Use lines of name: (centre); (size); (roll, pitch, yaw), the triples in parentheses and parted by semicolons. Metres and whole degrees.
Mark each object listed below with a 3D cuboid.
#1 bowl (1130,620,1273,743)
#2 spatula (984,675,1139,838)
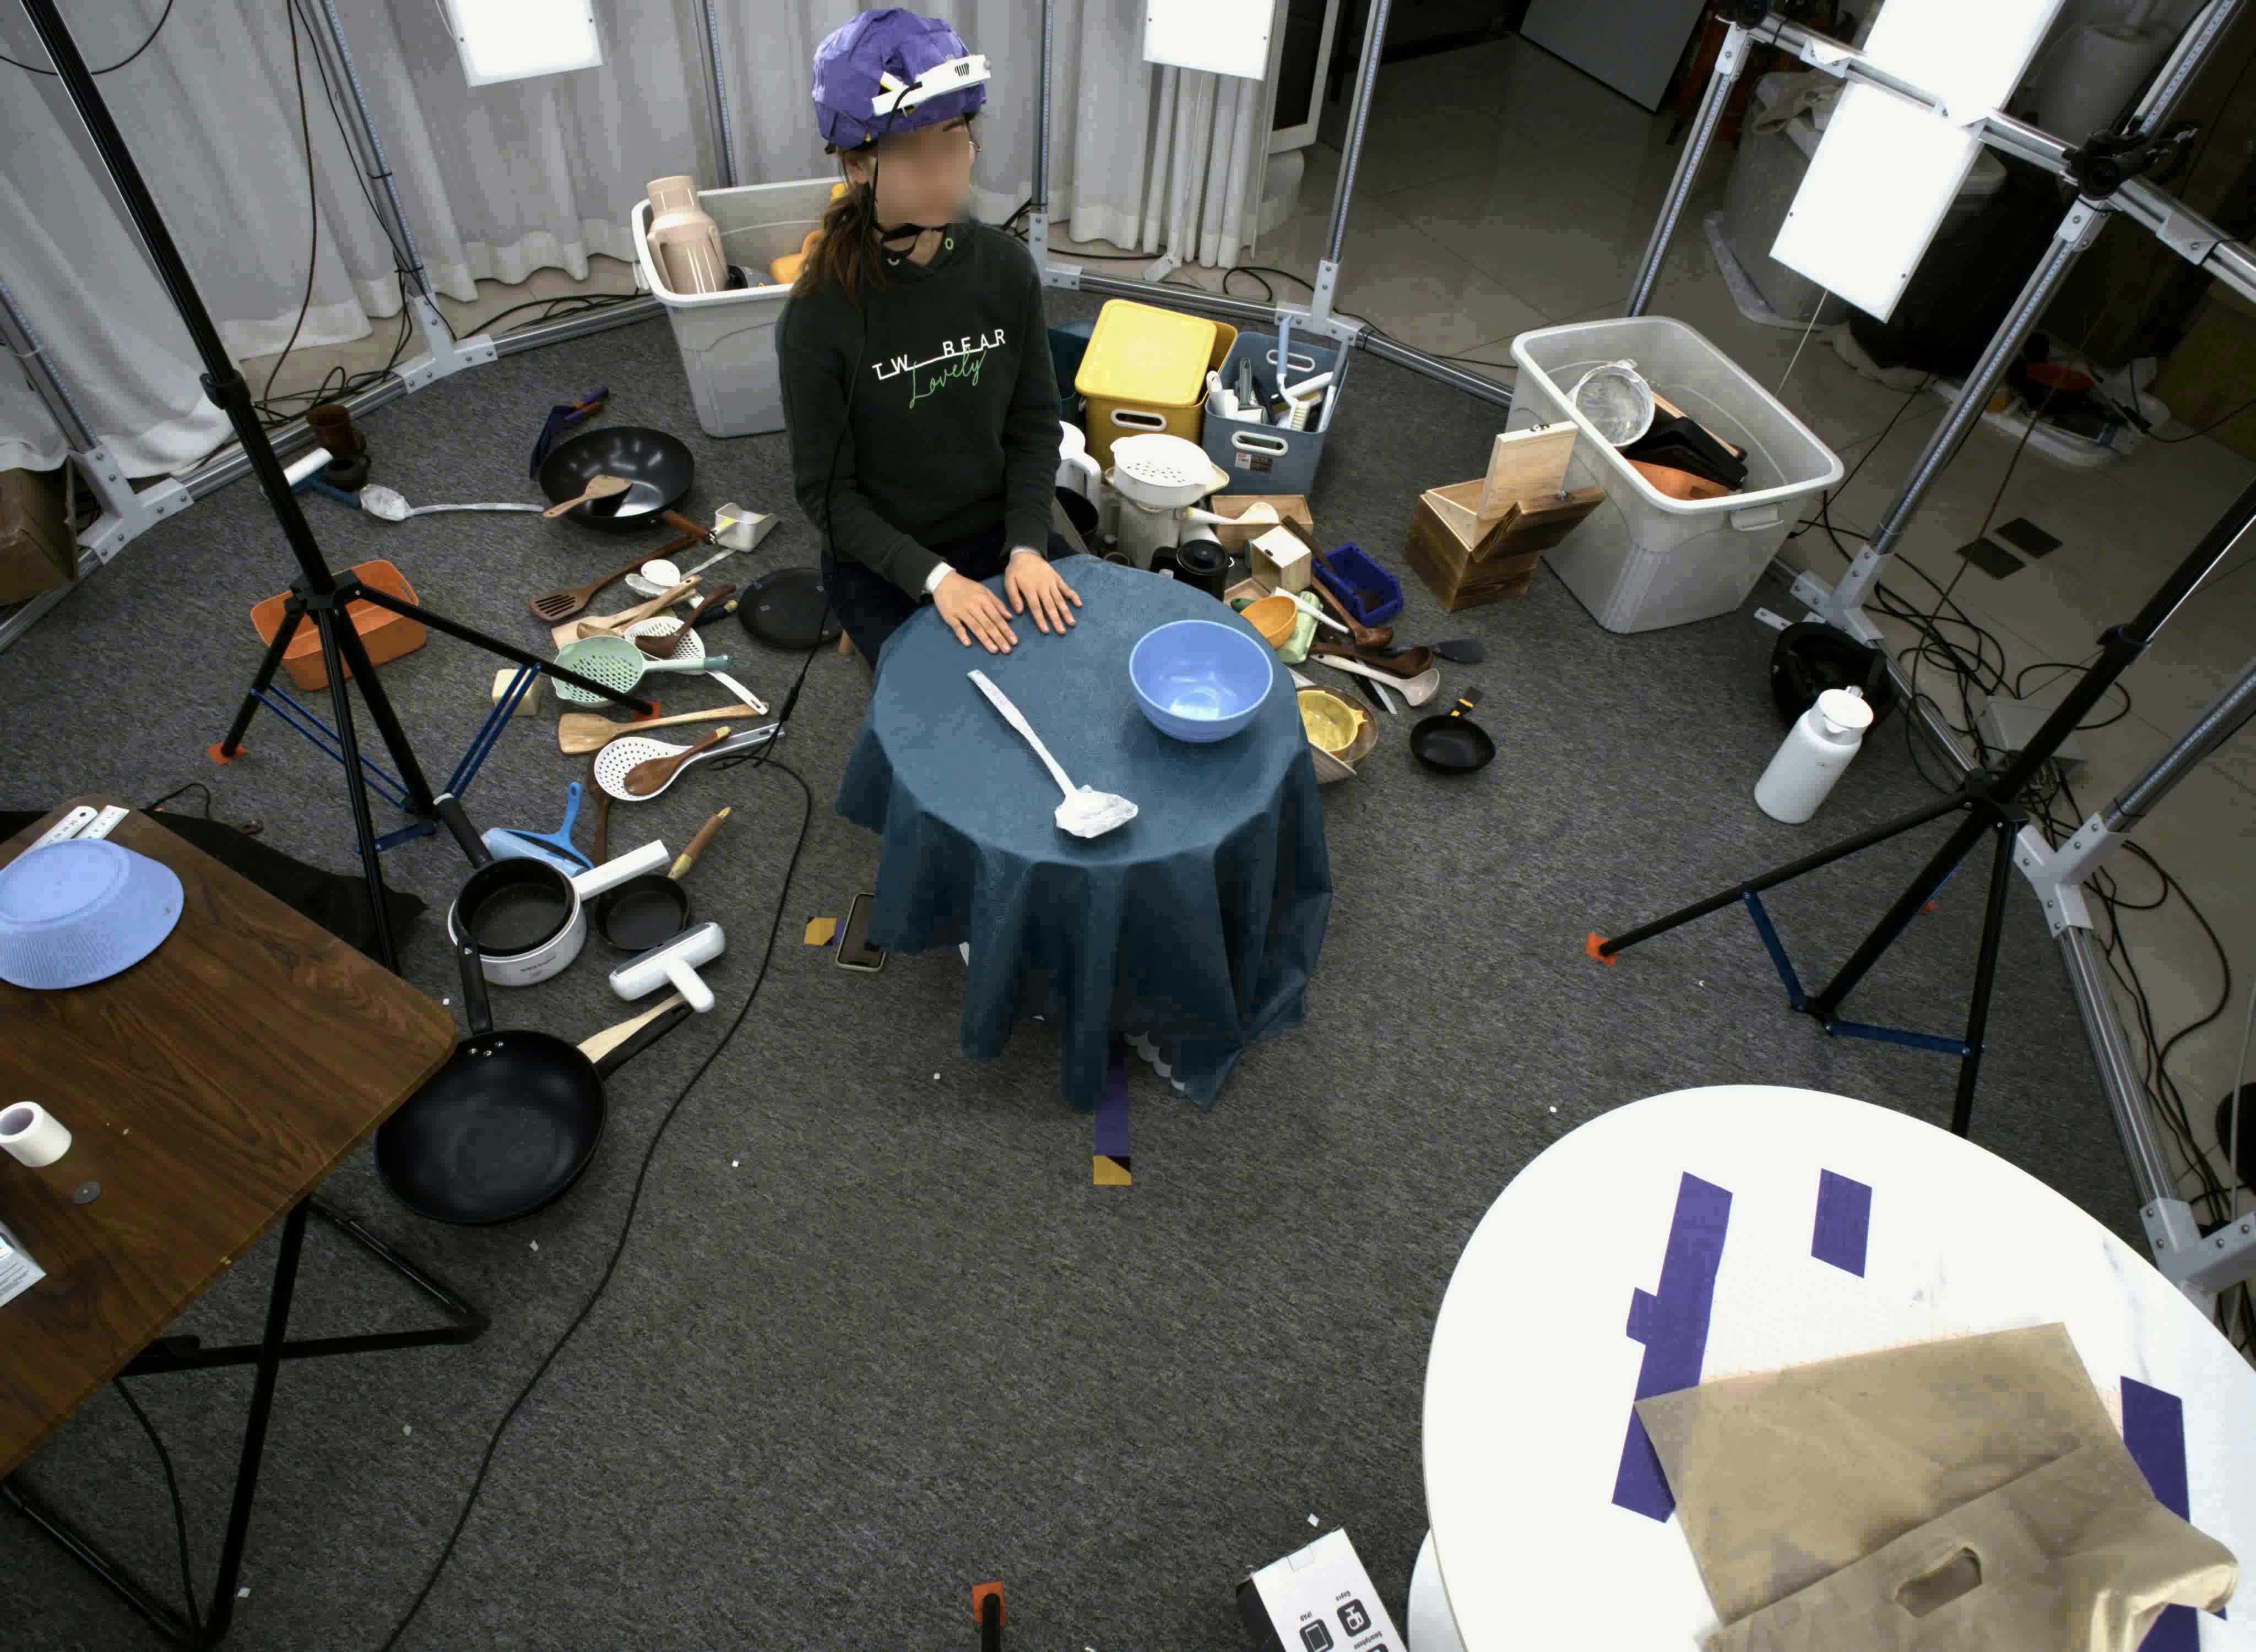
bowl: (0.097, -0.186, 1.789); (0.196, 0.093, 0.201); (3, 50, -4)
spatula: (-0.113, -0.106, 1.744); (0.099, 0.043, 0.372); (-24, 55, -20)
